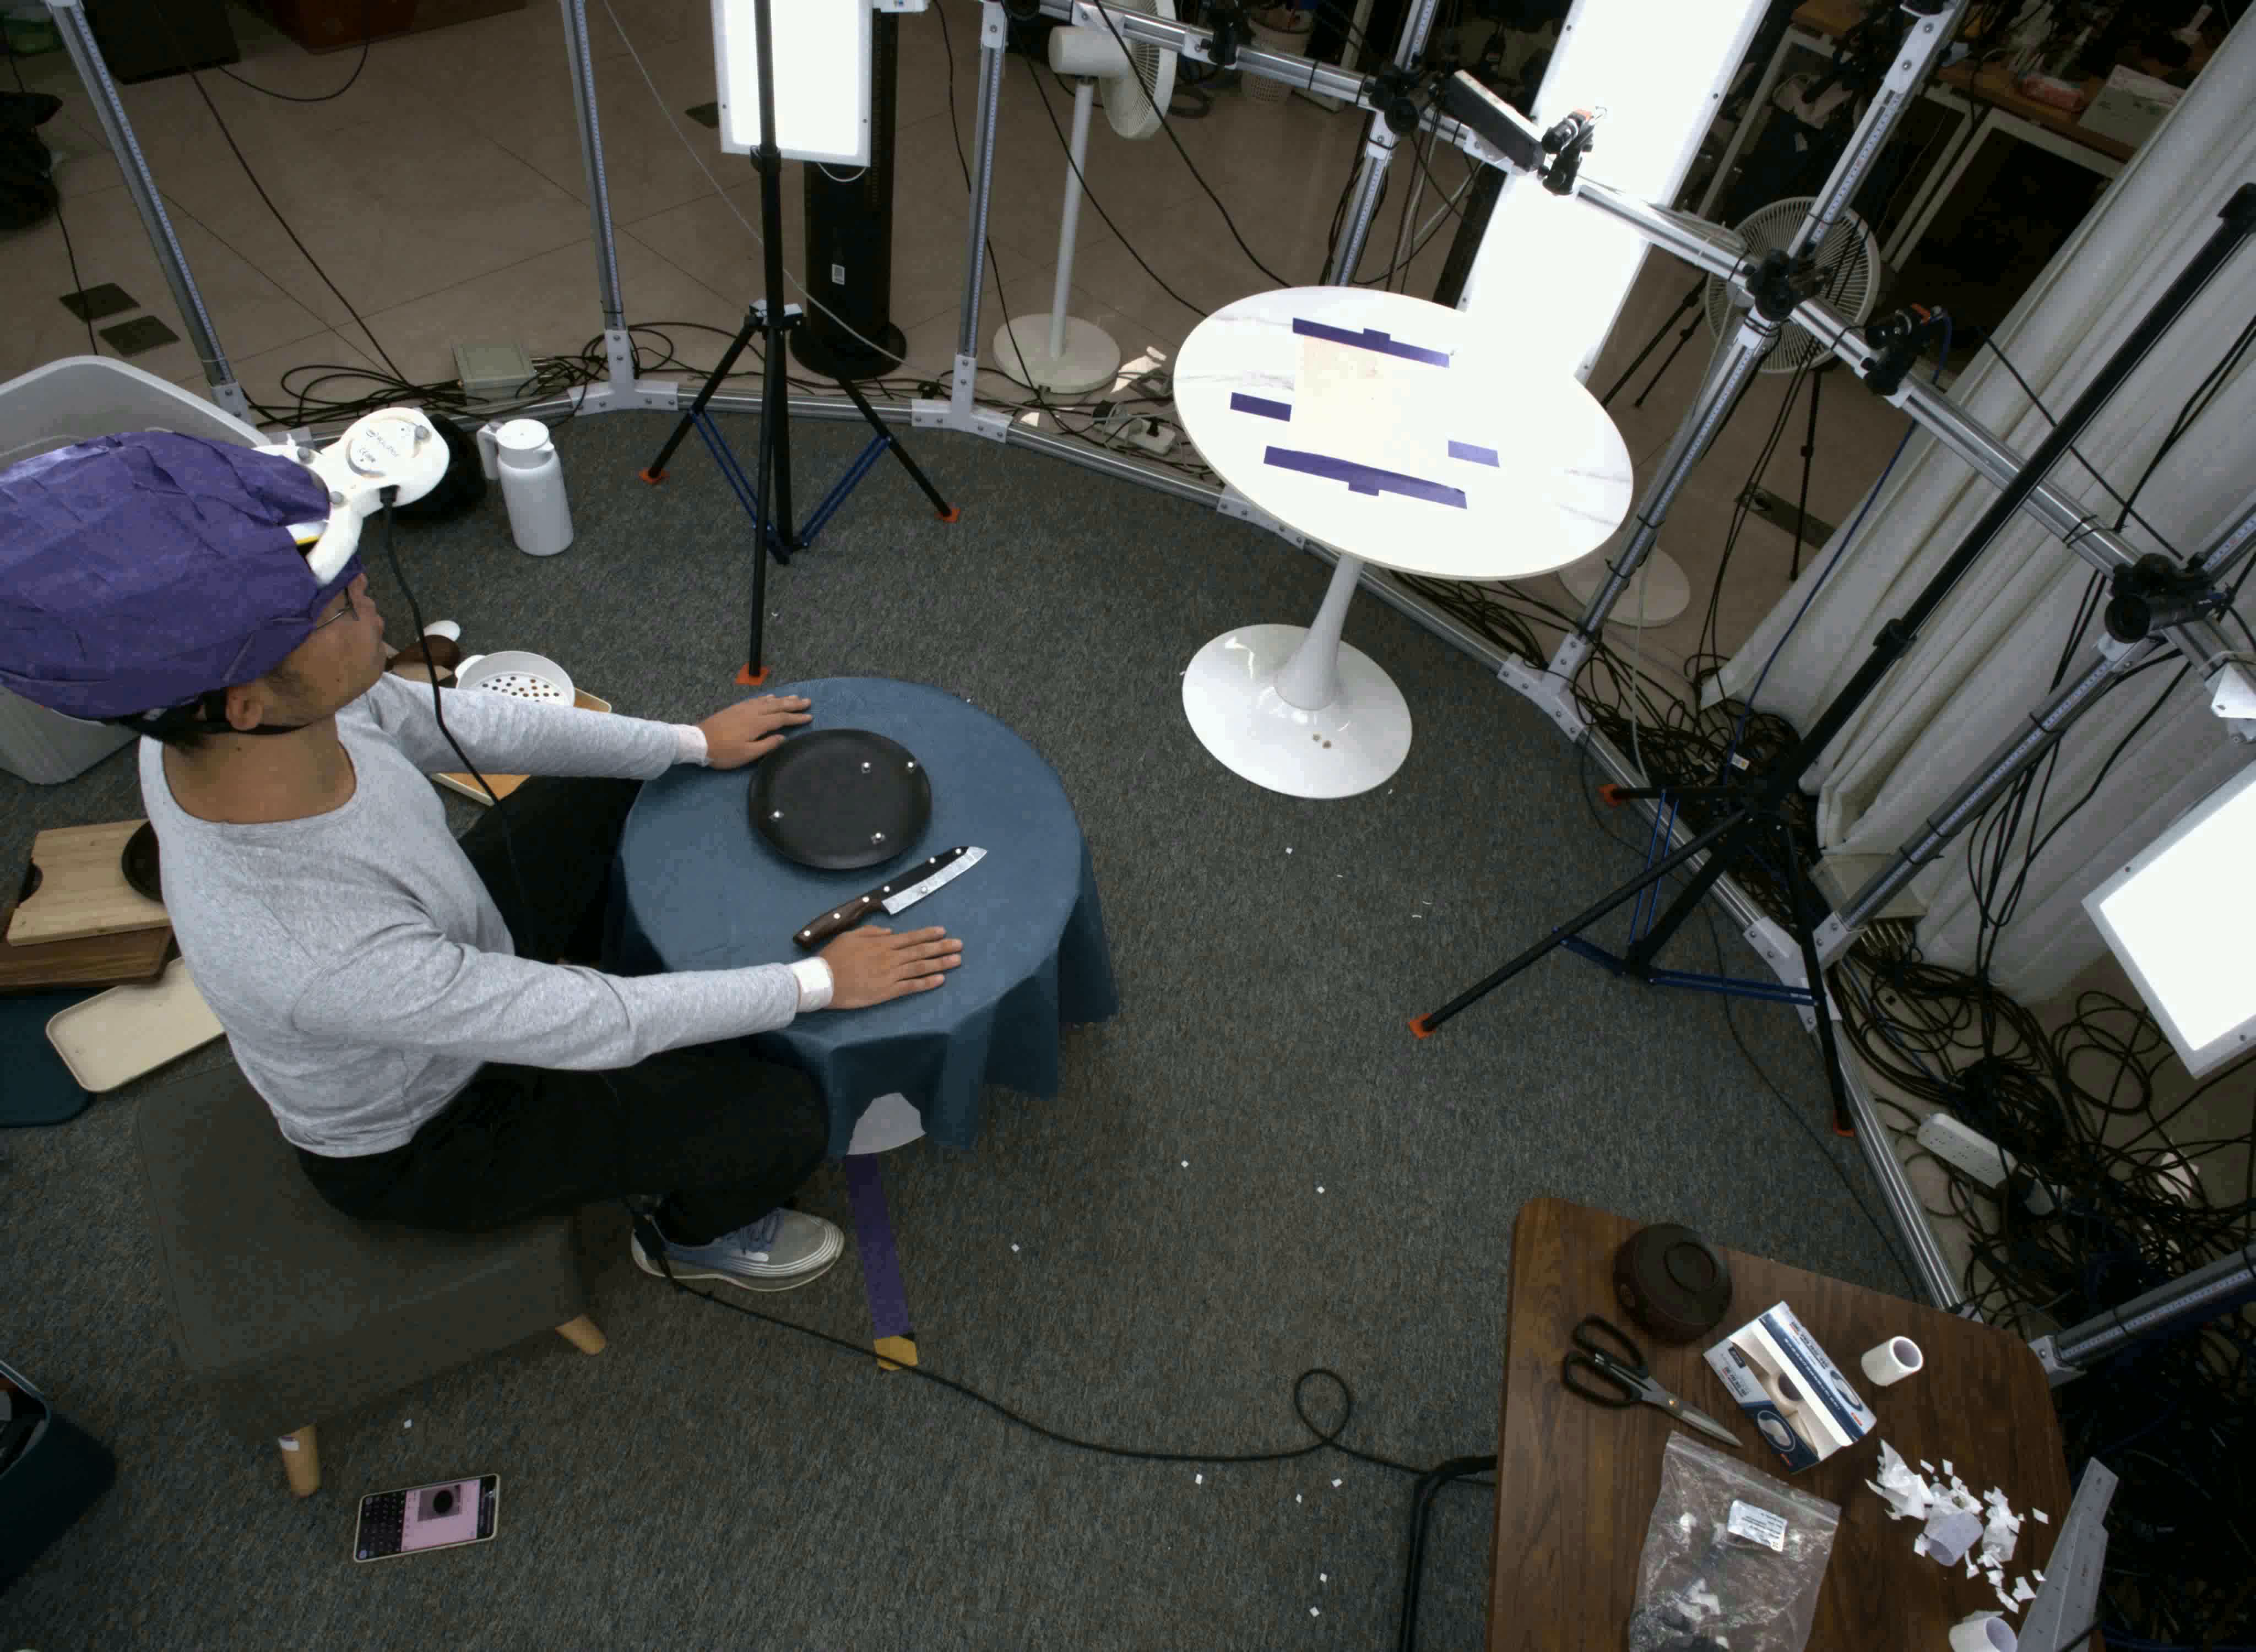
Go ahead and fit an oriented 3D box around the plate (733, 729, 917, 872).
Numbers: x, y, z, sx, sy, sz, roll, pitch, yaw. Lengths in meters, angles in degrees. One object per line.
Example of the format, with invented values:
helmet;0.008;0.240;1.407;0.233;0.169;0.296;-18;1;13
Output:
plate;-0.407;-0.033;1.749;0.244;0.024;0.240;8;53;-9

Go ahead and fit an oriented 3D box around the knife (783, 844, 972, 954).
knife;-0.319;0.089;1.687;0.290;0.020;0.049;-30;70;-33
